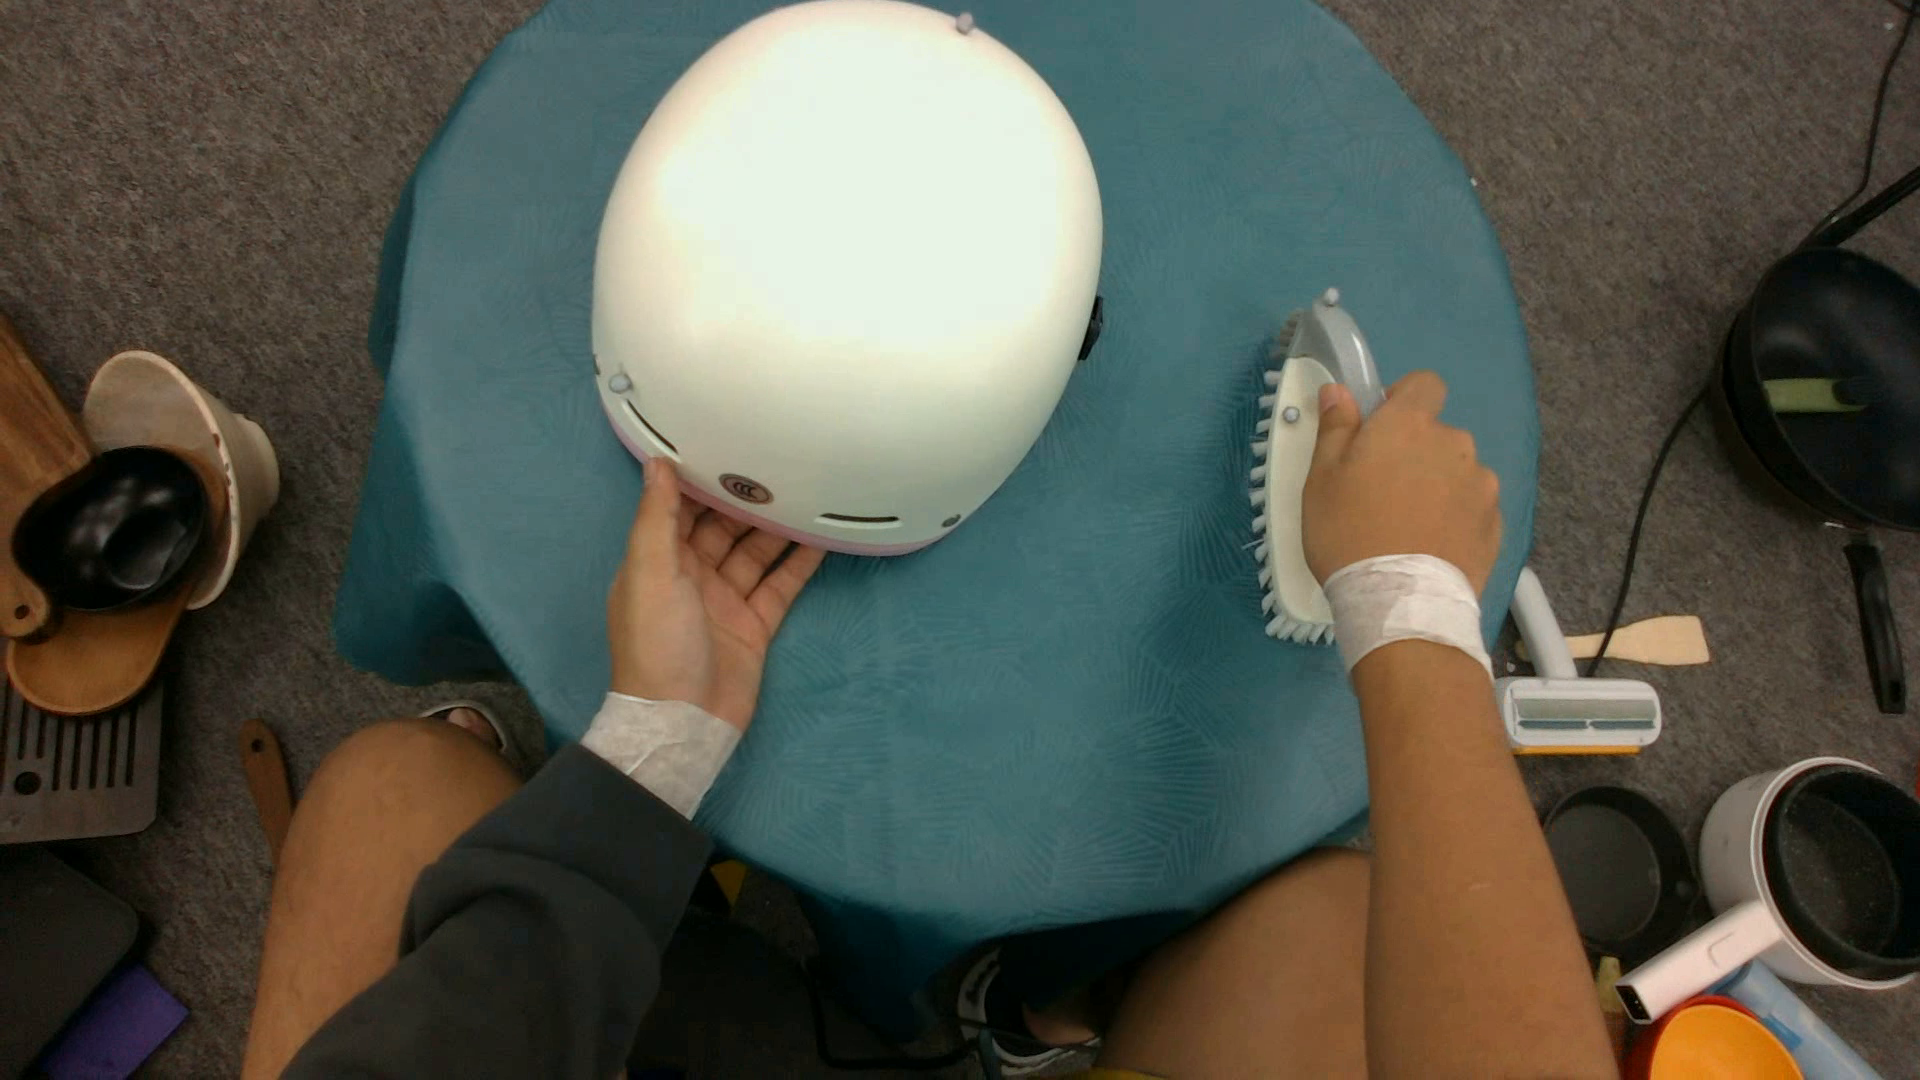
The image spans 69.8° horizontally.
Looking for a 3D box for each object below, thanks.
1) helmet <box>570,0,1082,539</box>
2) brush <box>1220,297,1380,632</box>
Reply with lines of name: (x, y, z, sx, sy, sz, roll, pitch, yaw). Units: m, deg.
helmet: (-0.054, -0.147, 0.621, 0.237, 0.166, 0.269, 24, 68, -3)
brush: (0.170, -0.050, 0.678, 0.061, 0.094, 0.176, 5, 68, -11)
